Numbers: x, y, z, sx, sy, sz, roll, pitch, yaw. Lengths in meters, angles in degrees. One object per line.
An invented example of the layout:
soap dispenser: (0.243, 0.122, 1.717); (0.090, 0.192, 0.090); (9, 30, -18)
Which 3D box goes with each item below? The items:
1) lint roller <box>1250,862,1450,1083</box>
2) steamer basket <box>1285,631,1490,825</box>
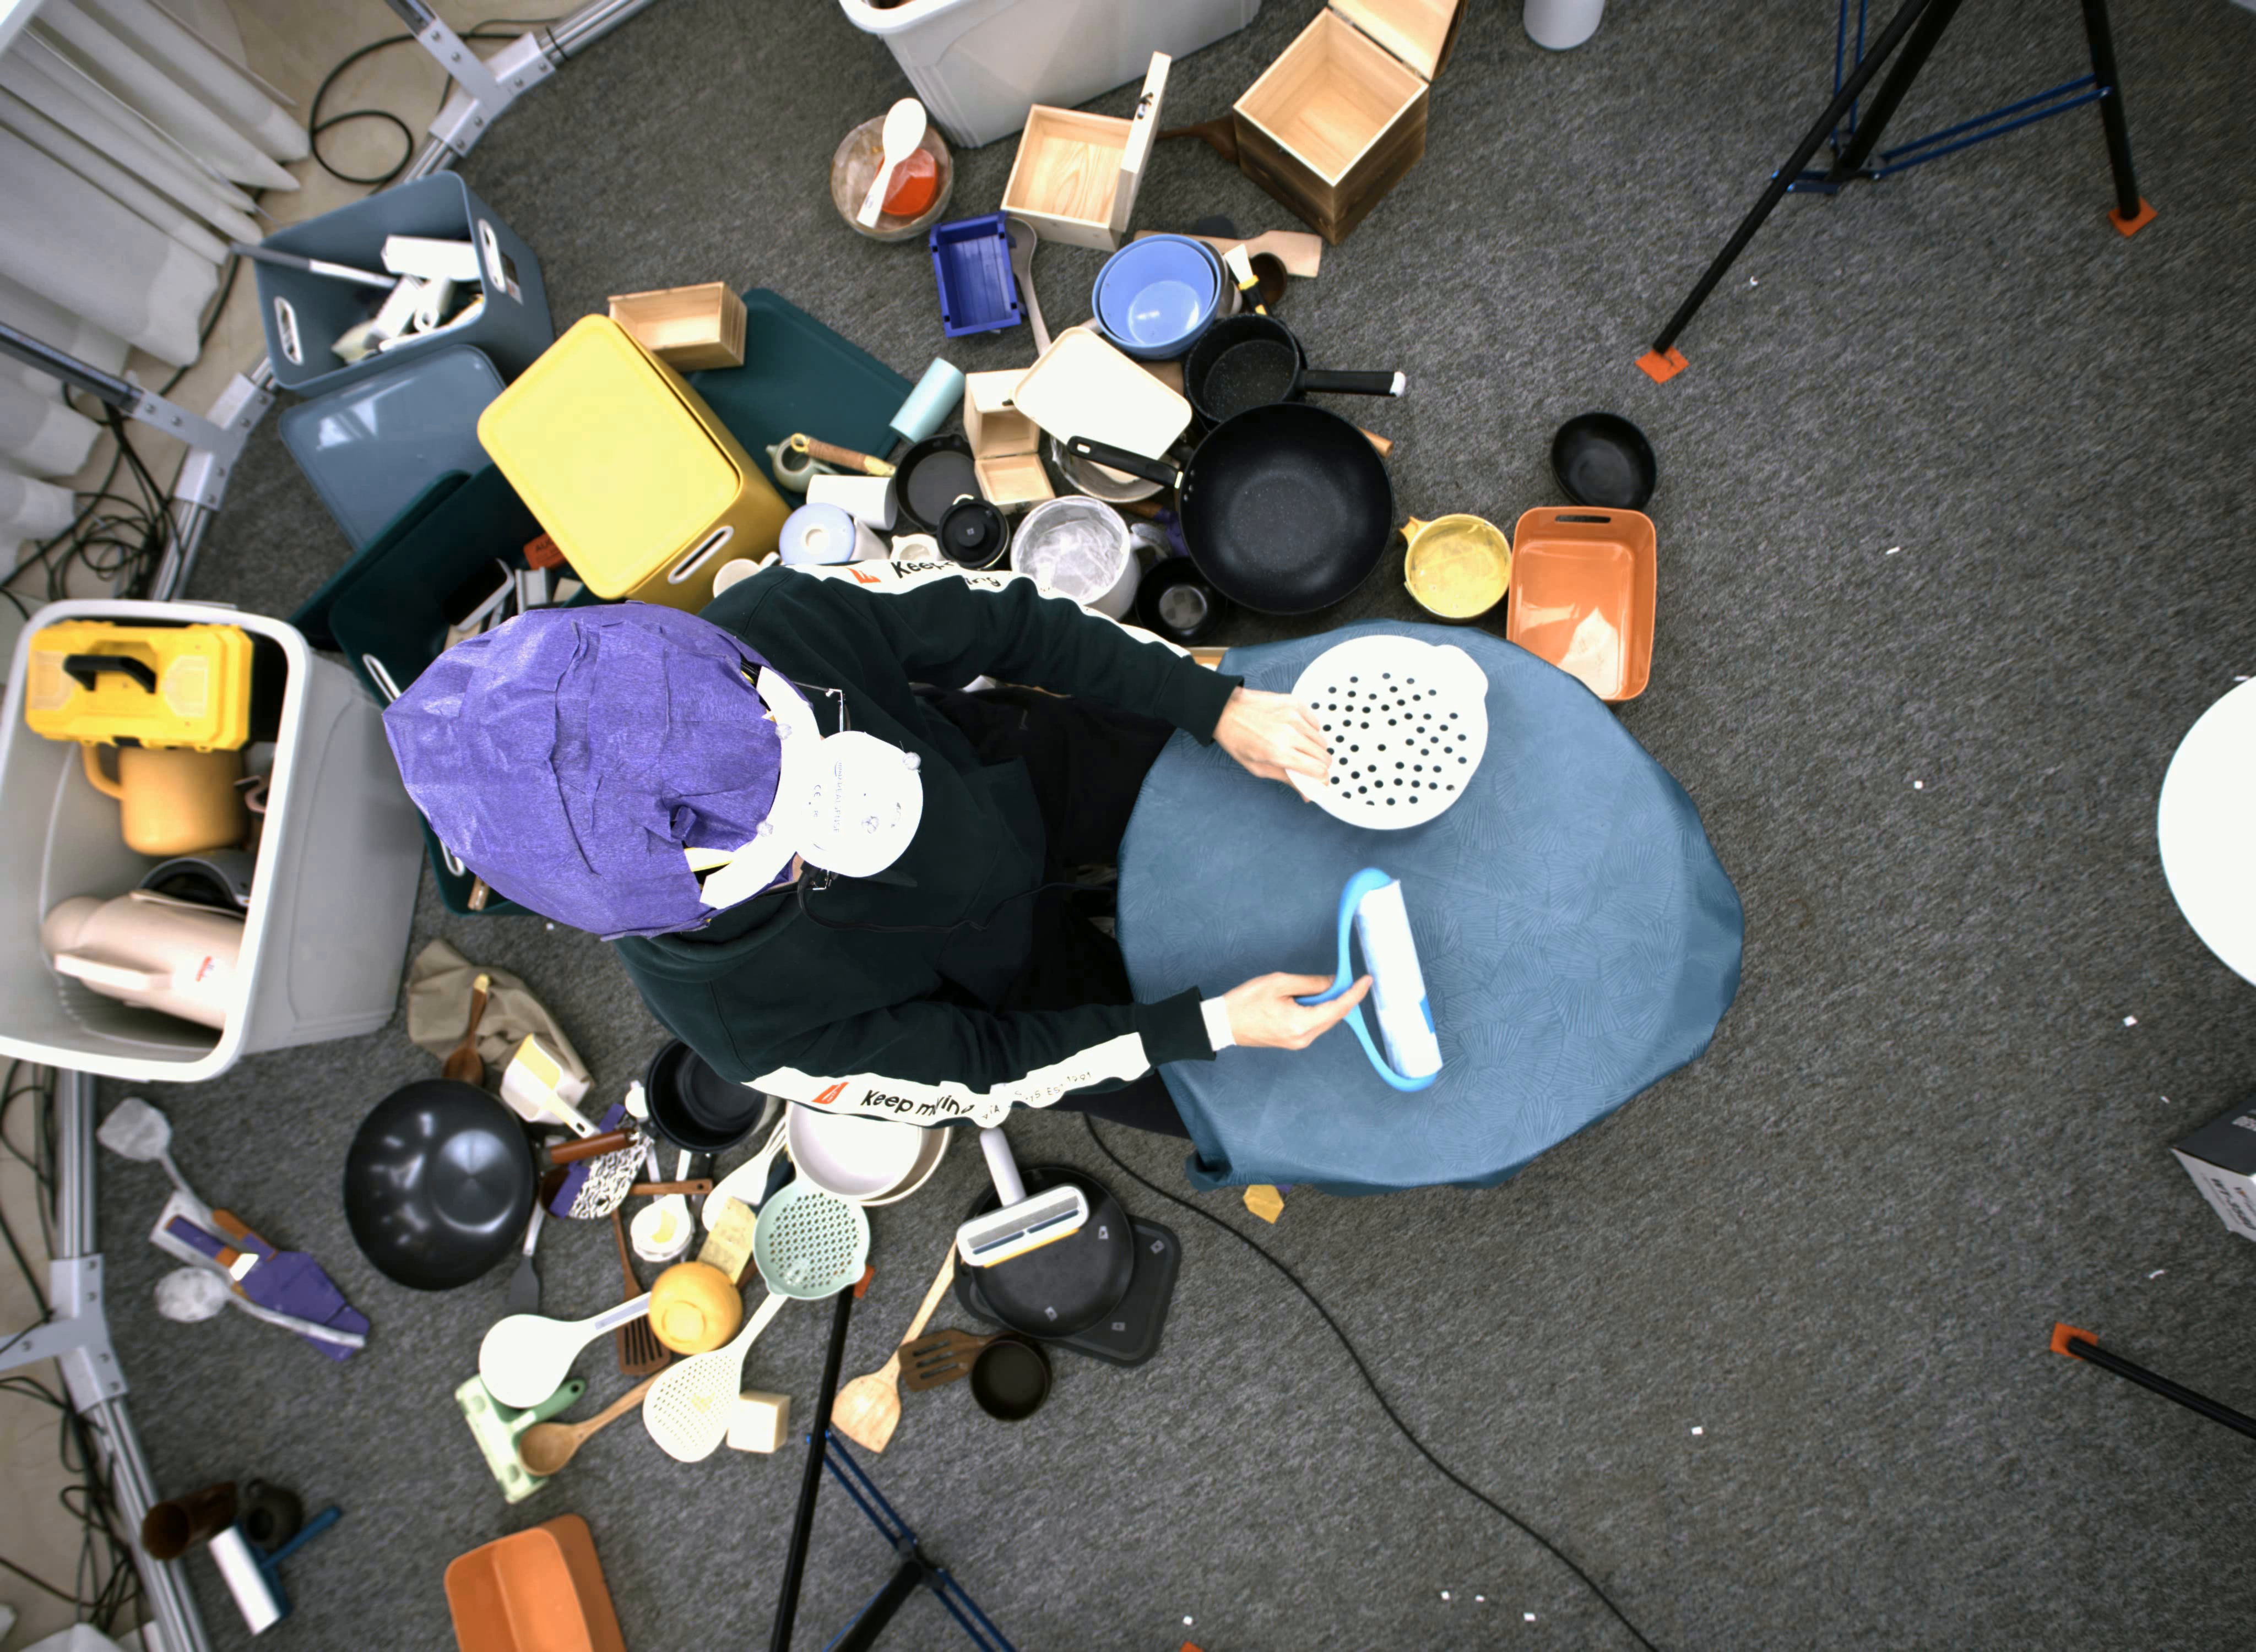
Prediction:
lint roller: (0.211, 0.164, 1.376); (0.181, 0.067, 0.230); (-20, 101, 3)
steamer basket: (0.265, -0.099, 1.404); (0.230, 0.070, 0.199); (-36, 69, -5)
